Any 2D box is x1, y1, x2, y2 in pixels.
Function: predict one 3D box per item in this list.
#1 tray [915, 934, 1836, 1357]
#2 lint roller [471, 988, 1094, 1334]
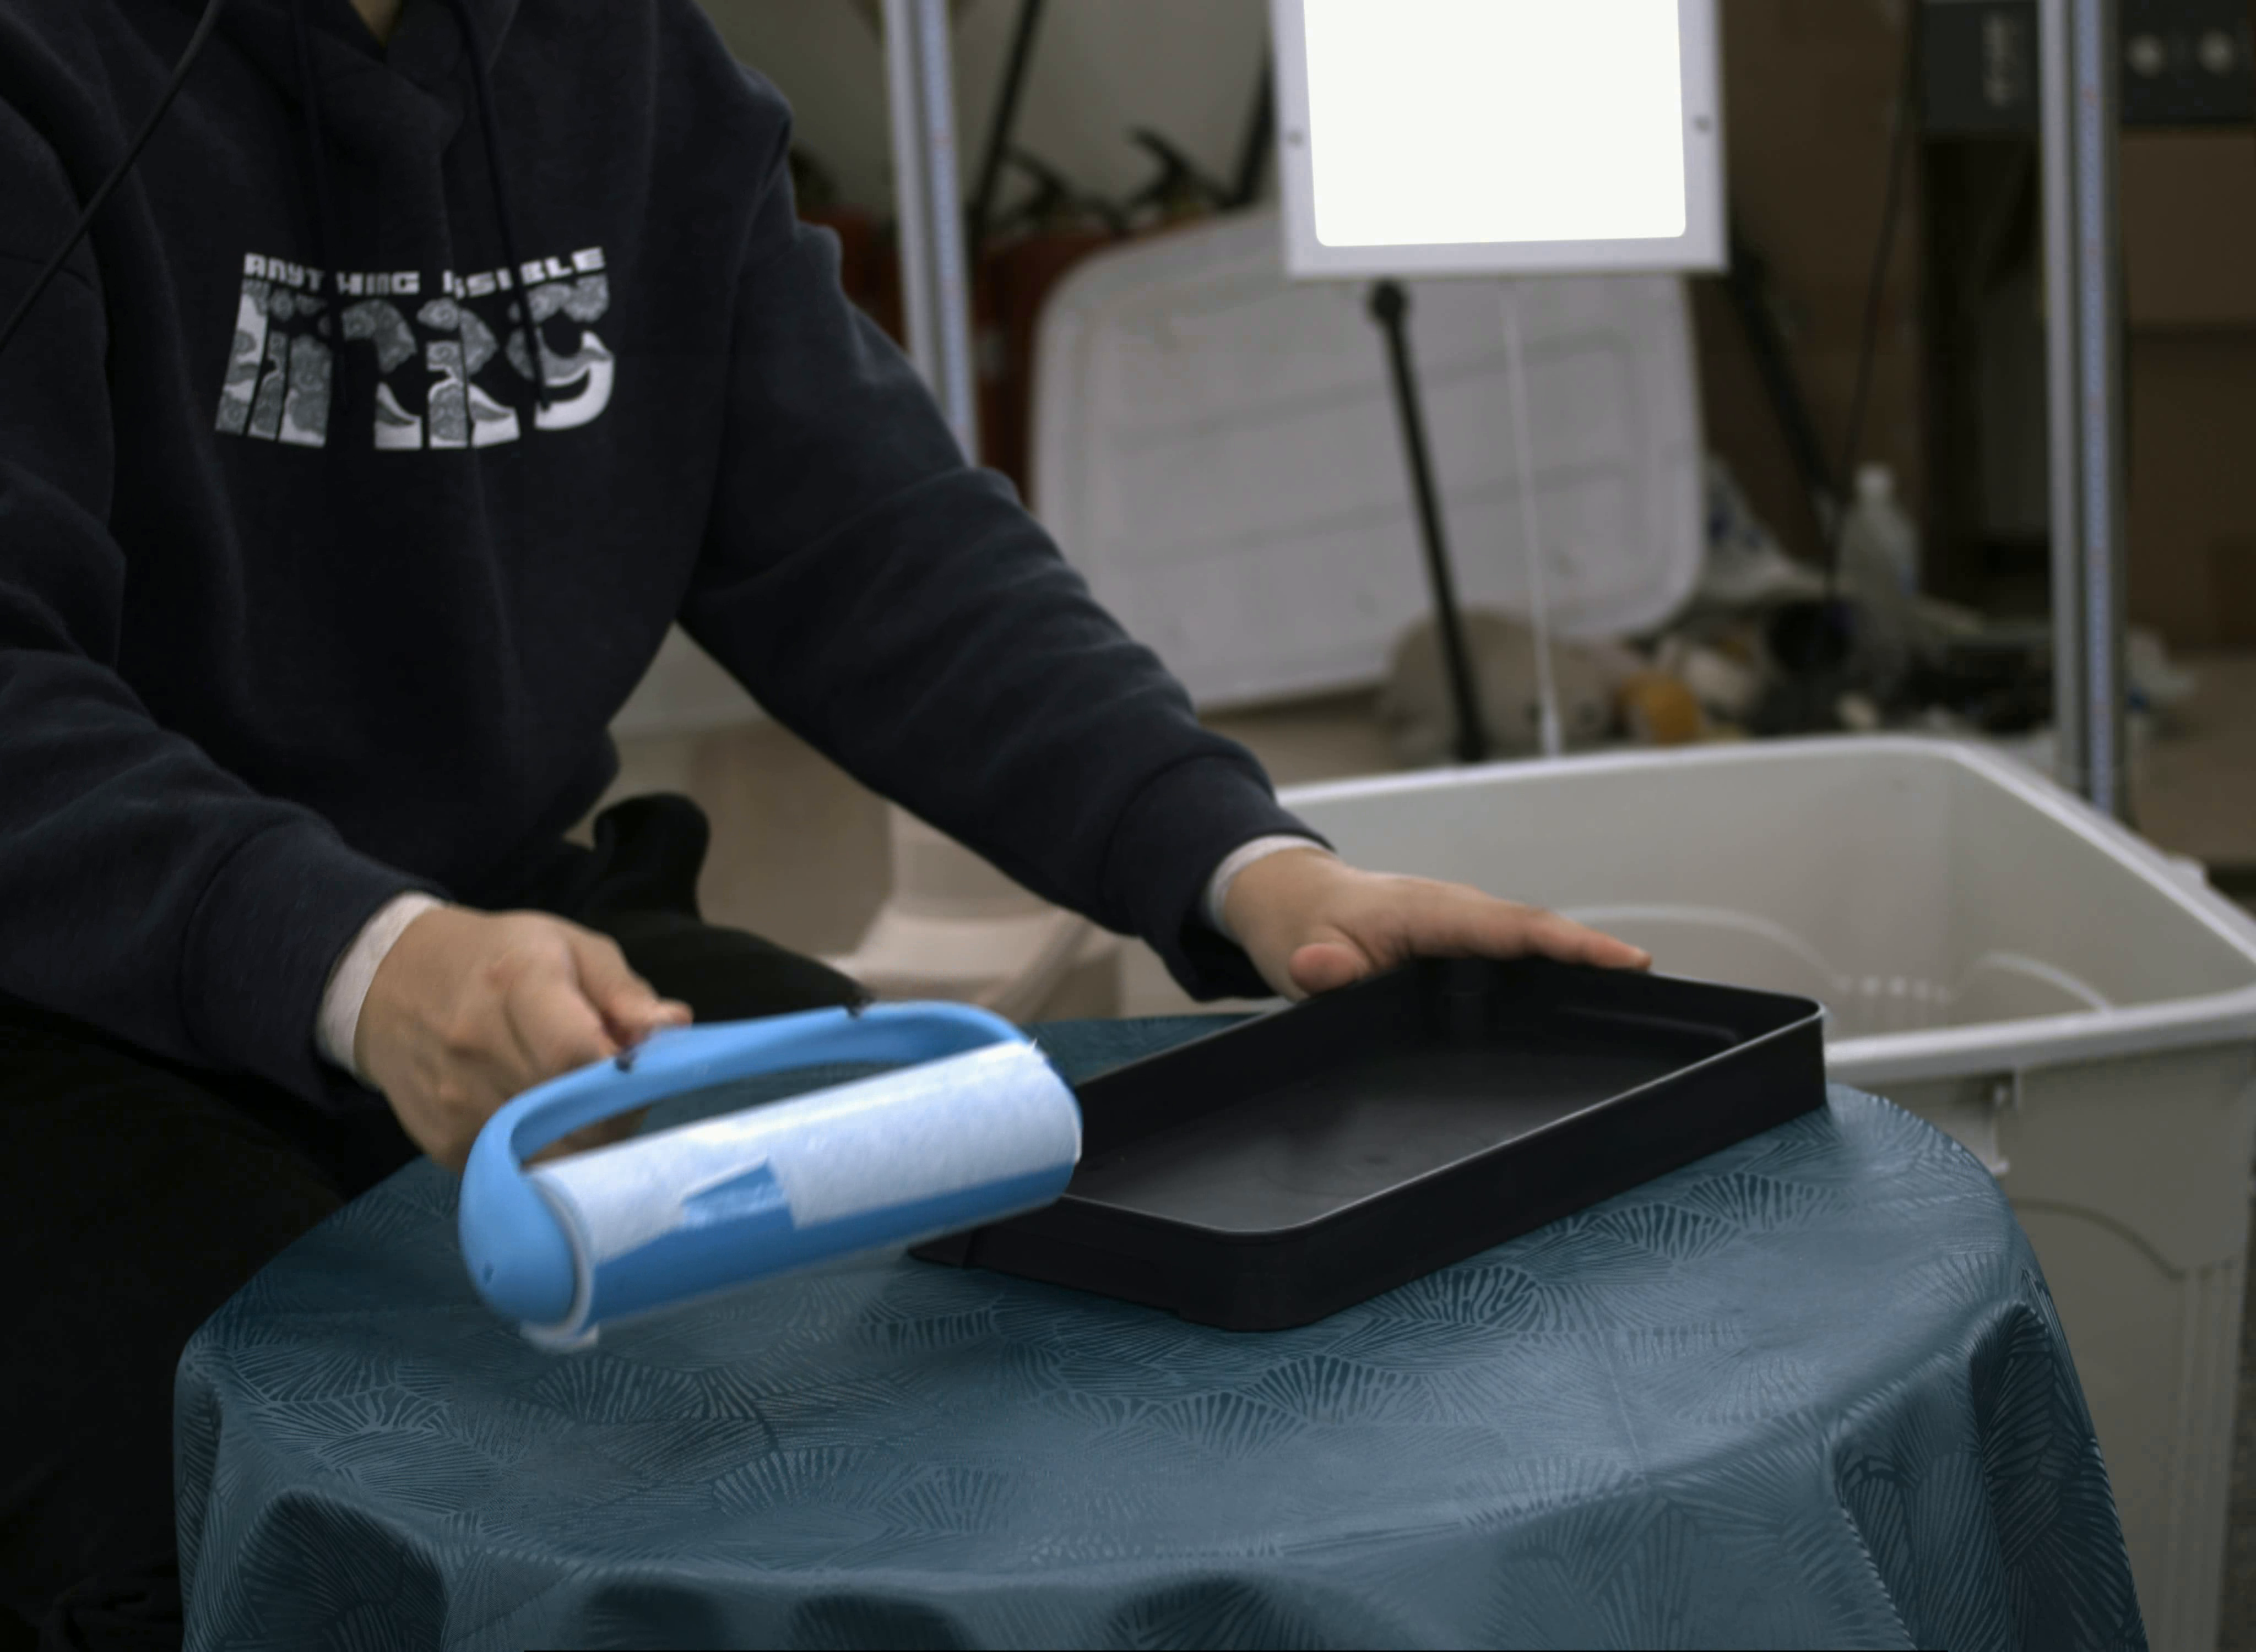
[{"bbox_3d":[0.089,0.104,1.897,0.188,0.037,0.310,8,21,43],"label":"tray"},{"bbox_3d":[-0.143,0.091,1.740,0.223,0.068,0.184,-16,26,-40],"label":"lint roller"}]
